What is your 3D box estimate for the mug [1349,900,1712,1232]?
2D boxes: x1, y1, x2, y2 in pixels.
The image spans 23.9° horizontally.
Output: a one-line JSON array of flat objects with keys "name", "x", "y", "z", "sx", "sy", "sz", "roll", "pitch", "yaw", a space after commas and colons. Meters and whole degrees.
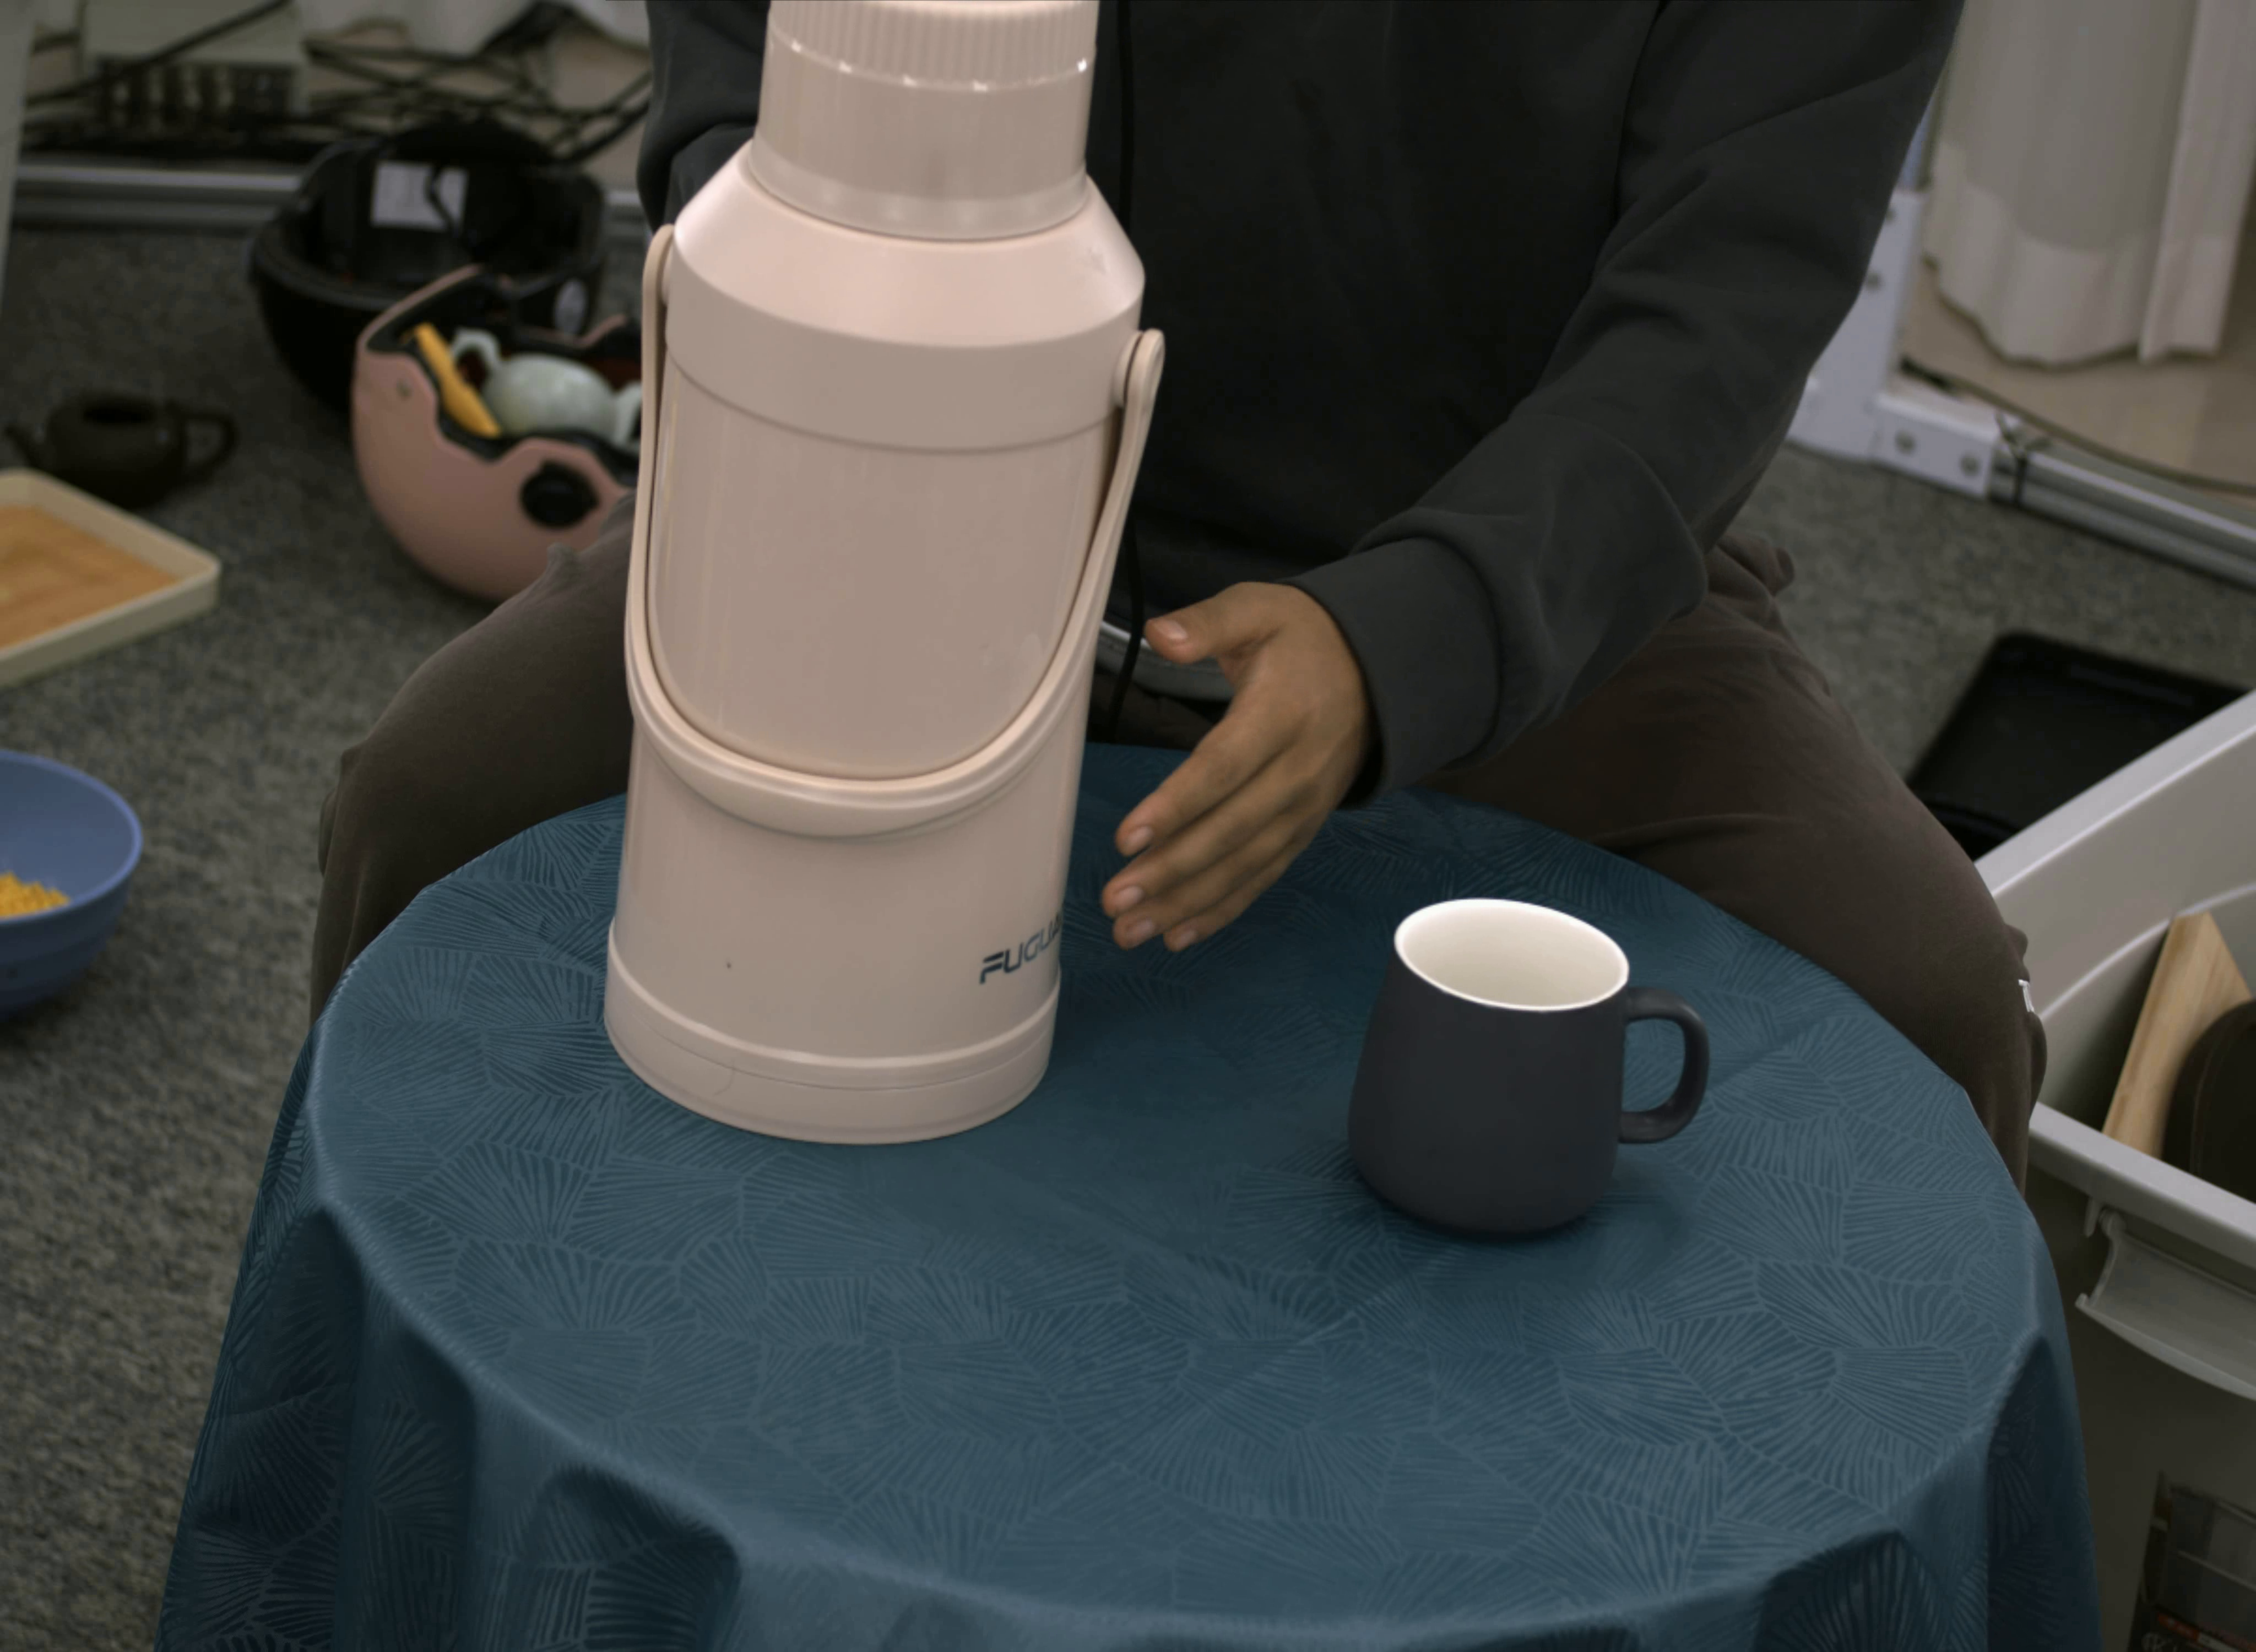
[{"name": "mug", "x": 0.140, "y": 0.083, "z": 1.820, "sx": 0.122, "sy": 0.089, "sz": 0.094, "roll": 2, "pitch": 27, "yaw": -10}]

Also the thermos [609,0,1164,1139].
[{"name": "thermos", "x": -0.078, "y": -0.110, "z": 1.809, "sx": 0.175, "sy": 0.405, "sz": 0.207, "roll": 12, "pitch": 28, "yaw": 12}]
